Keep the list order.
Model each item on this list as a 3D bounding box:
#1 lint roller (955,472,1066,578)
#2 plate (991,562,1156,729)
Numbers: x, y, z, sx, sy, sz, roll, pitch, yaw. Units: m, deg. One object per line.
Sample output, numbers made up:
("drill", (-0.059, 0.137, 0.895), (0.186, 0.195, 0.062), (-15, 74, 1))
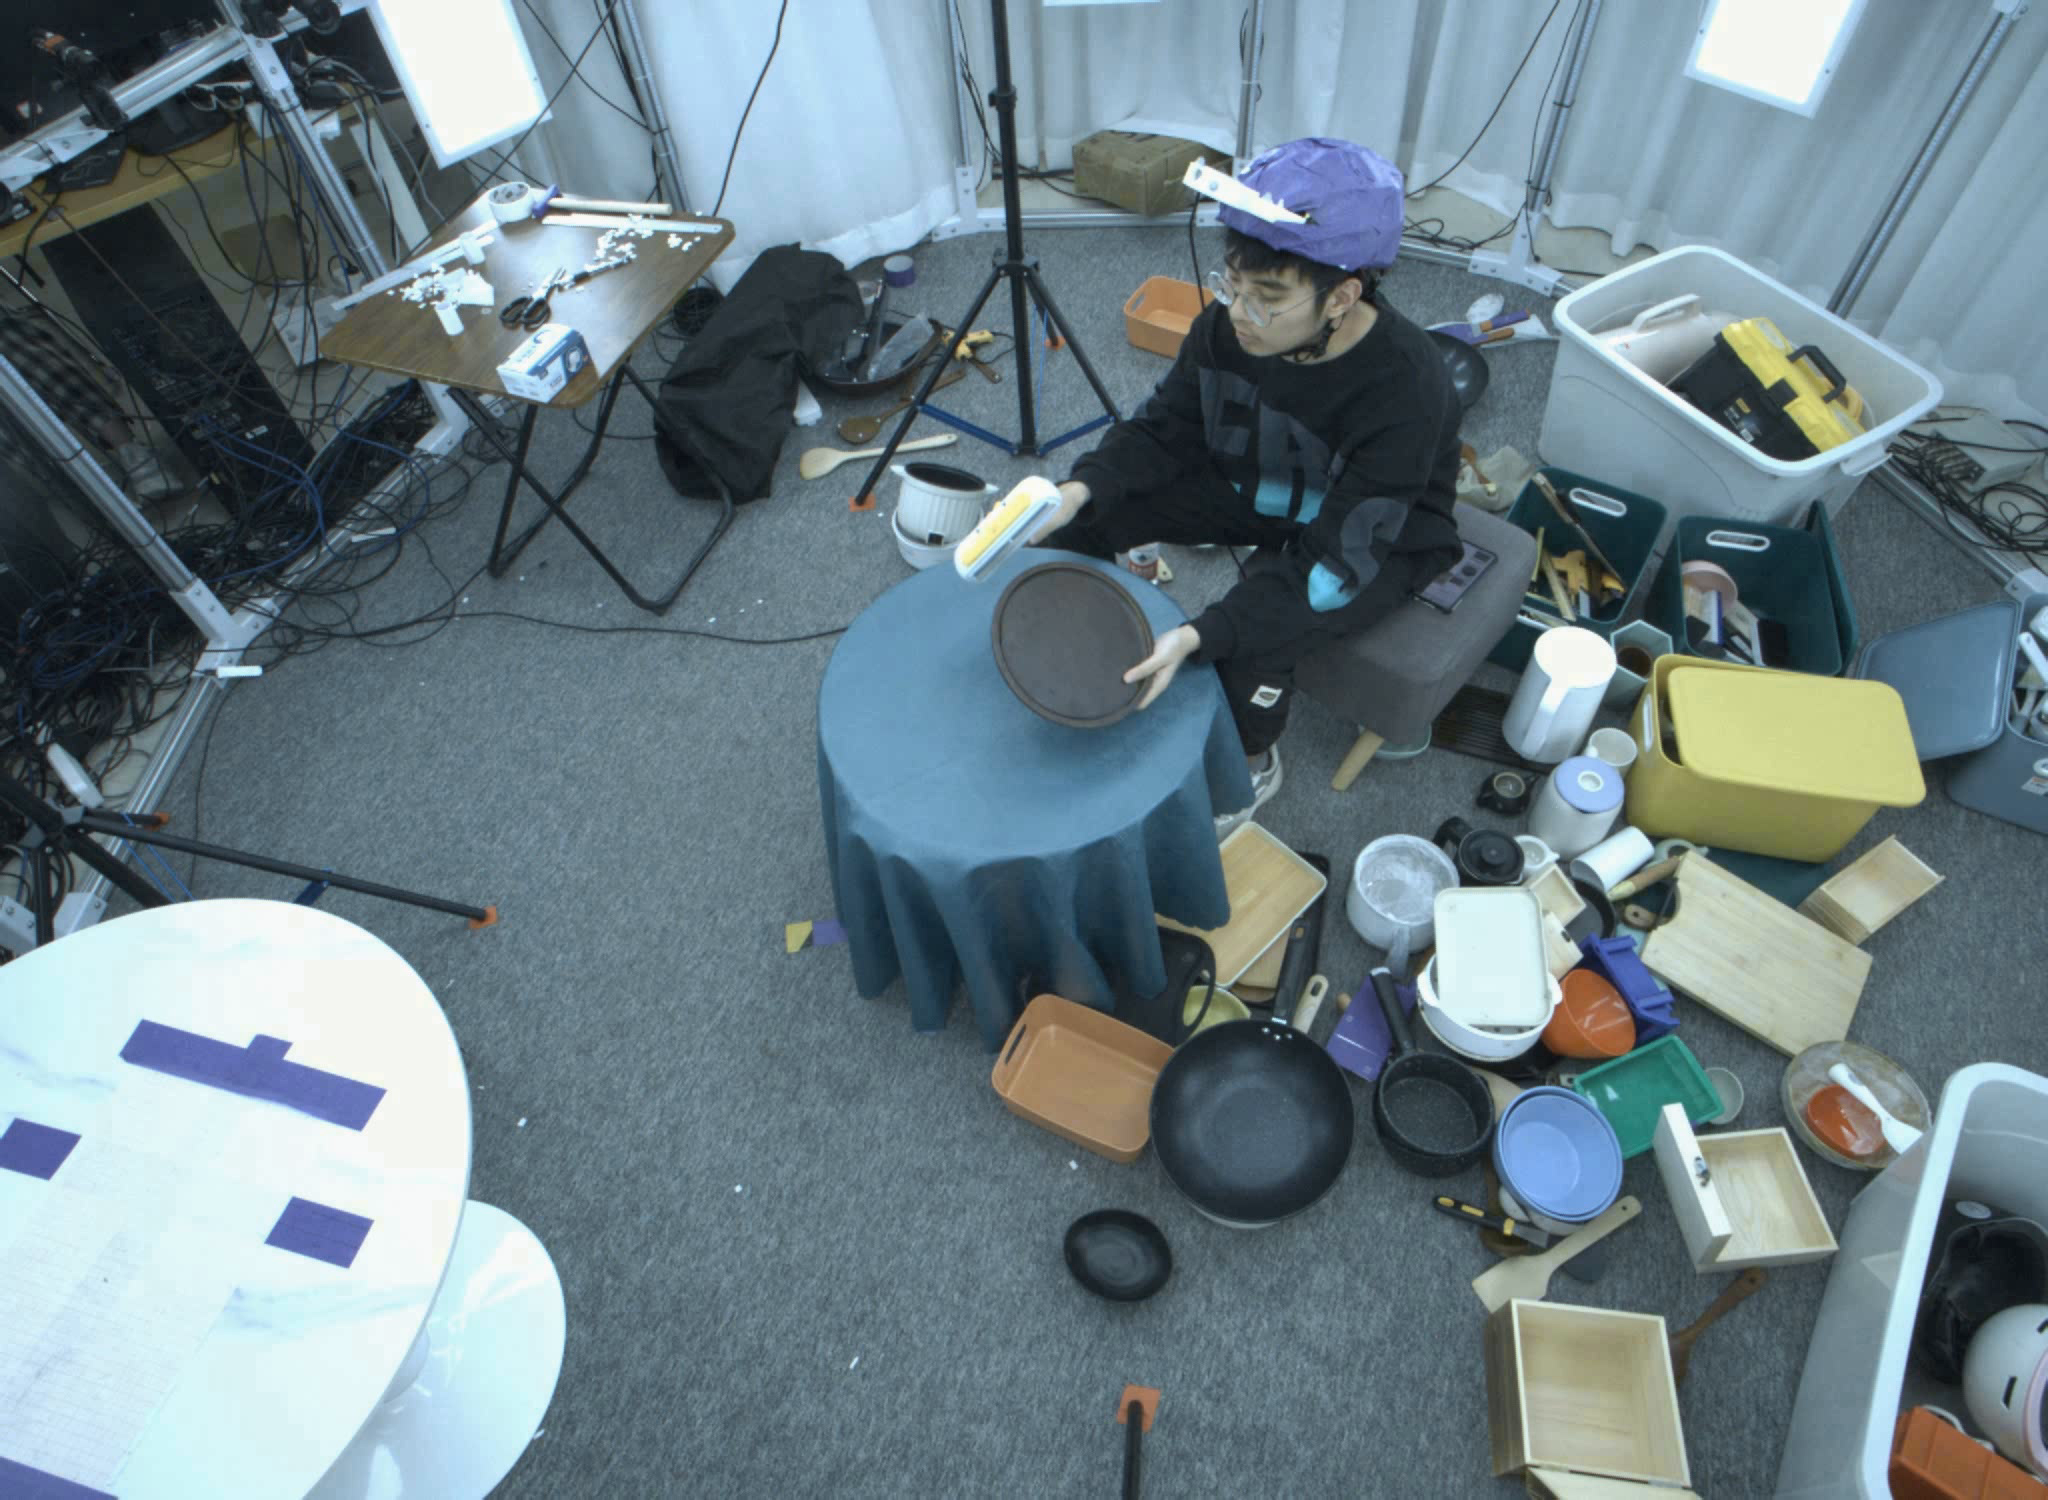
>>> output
("lint roller", (-0.003, -0.335, 1.832), (0.192, 0.195, 0.073), (-45, 75, 20))
("plate", (0.070, -0.148, 1.737), (0.259, 0.029, 0.253), (8, 72, -24))
